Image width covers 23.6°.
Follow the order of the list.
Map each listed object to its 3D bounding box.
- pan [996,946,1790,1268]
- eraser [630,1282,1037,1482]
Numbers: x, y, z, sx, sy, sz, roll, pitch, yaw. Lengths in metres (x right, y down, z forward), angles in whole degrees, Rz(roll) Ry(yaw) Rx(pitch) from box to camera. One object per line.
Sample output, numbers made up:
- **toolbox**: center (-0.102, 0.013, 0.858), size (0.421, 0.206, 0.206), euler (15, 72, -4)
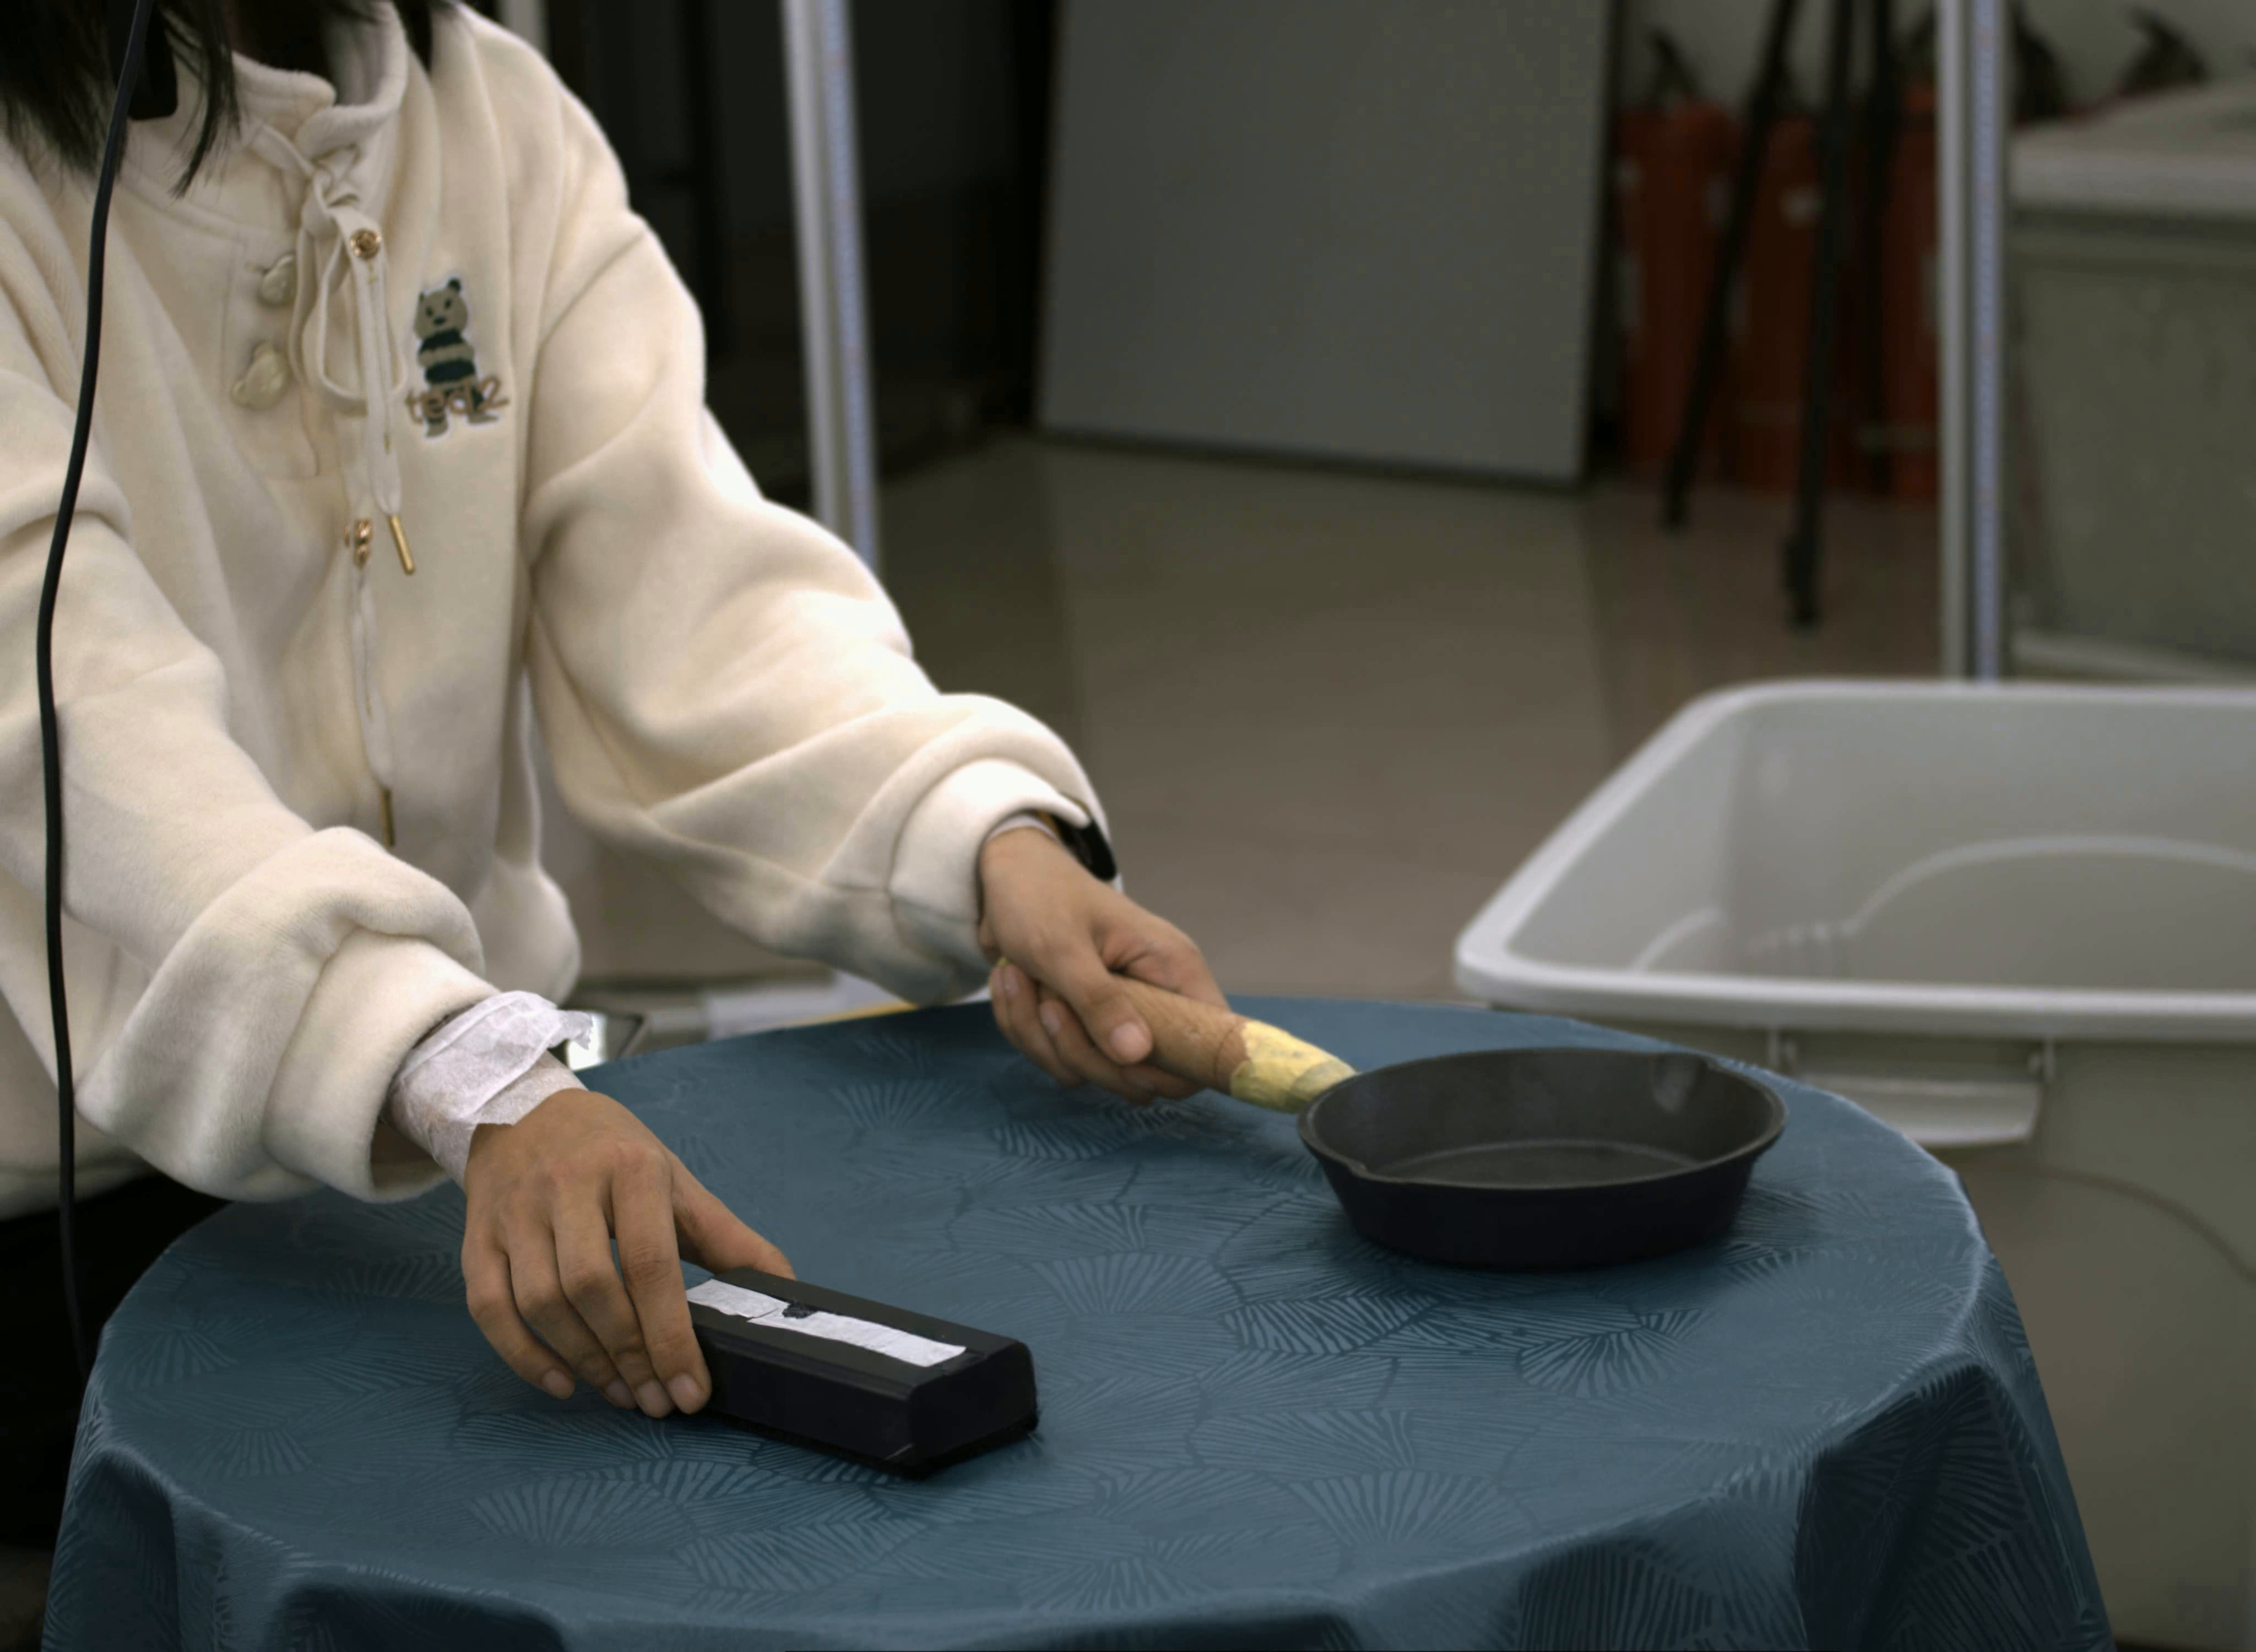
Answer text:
- **pan**: center (0.074, 0.087, 1.773), size (0.165, 0.050, 0.327), euler (-17, 19, -41)
- **eraser**: center (-0.085, 0.161, 1.577), size (0.052, 0.031, 0.127), euler (-17, 17, -42)
